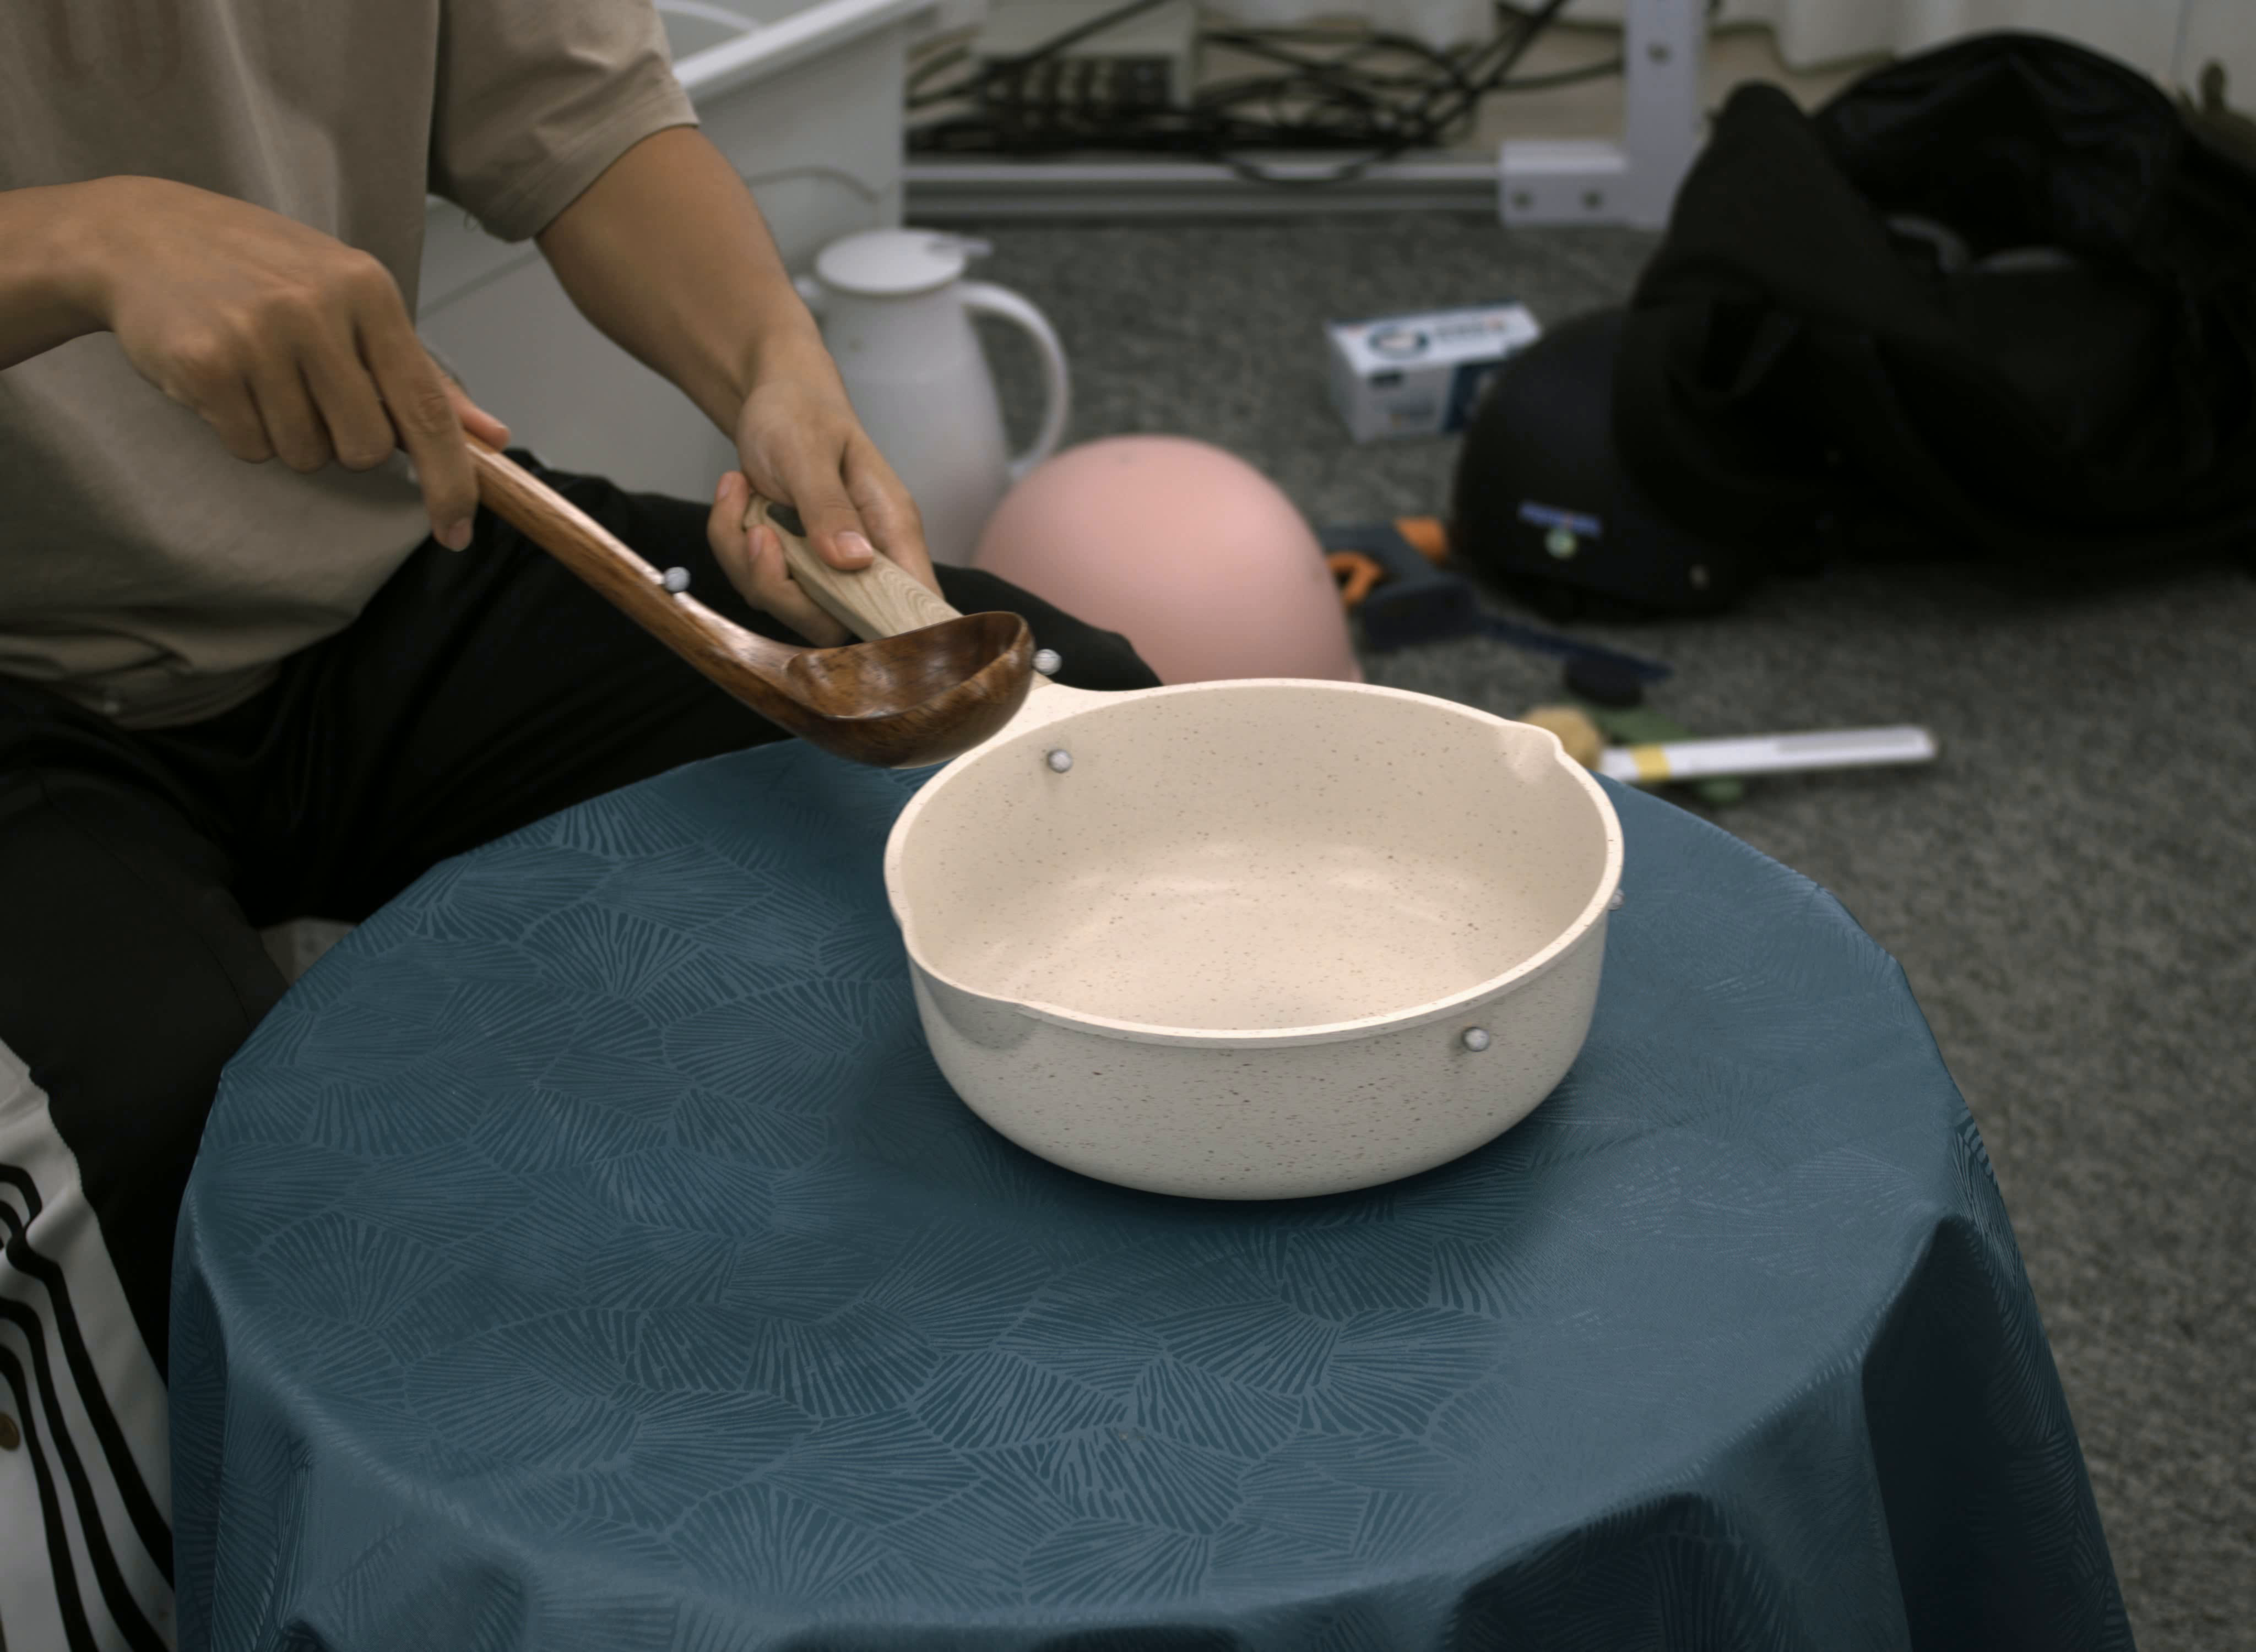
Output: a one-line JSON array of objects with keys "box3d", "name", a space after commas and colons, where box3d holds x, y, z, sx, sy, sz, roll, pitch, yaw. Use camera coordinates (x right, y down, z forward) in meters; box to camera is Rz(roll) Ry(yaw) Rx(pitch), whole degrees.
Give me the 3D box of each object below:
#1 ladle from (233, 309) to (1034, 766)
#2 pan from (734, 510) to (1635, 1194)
[{"box3d": [-0.155, -0.106, 1.806, 0.273, 0.076, 0.083, 35, 16, -5], "name": "ladle"}, {"box3d": [-0.006, 0.001, 1.988, 0.266, 0.101, 0.435, -22, 33, -30], "name": "pan"}]
